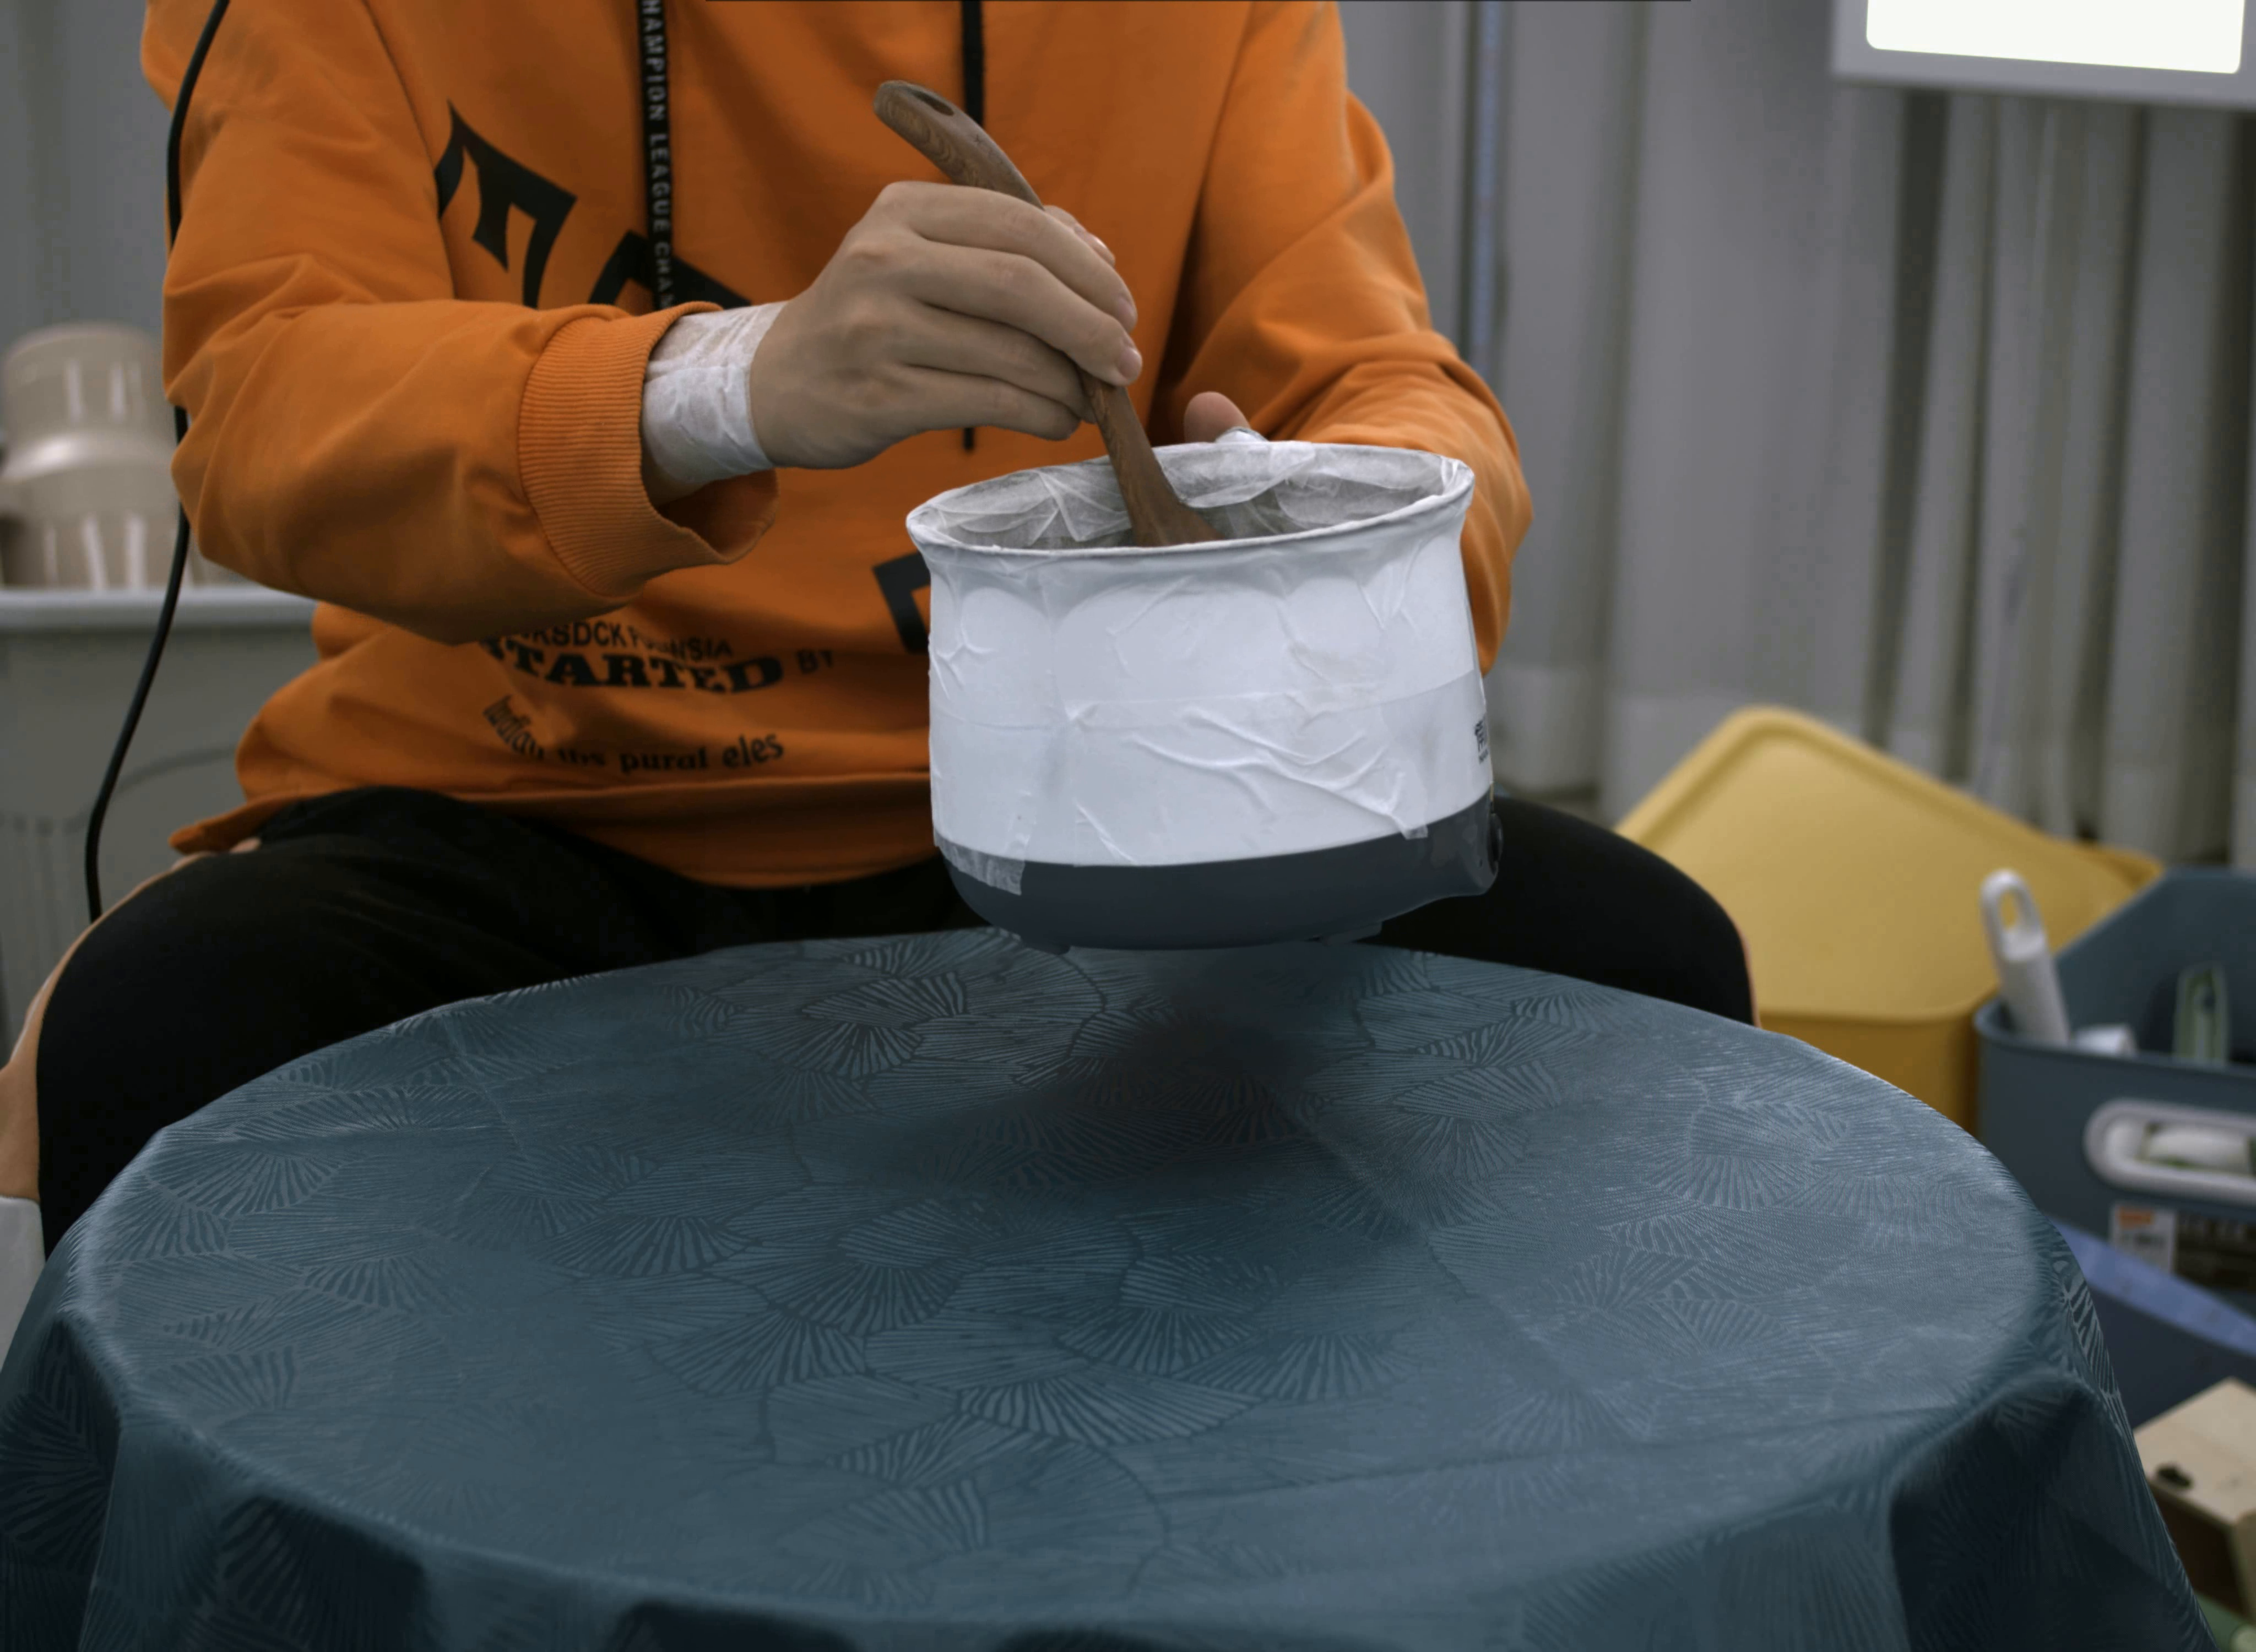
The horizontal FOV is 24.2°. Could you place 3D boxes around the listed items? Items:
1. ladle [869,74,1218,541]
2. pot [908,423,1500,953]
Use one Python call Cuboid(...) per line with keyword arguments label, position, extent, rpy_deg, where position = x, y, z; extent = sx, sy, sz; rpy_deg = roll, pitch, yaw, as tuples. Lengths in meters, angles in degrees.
Cuboid(label="ladle", position=(-0.001, -0.151, 1.689), extent=(0.065, 0.259, 0.077), rpy_deg=(-38, -16, 30))
Cuboid(label="pot", position=(0.028, -0.048, 1.668), extent=(0.177, 0.138, 0.233), rpy_deg=(-2, 14, 9))
